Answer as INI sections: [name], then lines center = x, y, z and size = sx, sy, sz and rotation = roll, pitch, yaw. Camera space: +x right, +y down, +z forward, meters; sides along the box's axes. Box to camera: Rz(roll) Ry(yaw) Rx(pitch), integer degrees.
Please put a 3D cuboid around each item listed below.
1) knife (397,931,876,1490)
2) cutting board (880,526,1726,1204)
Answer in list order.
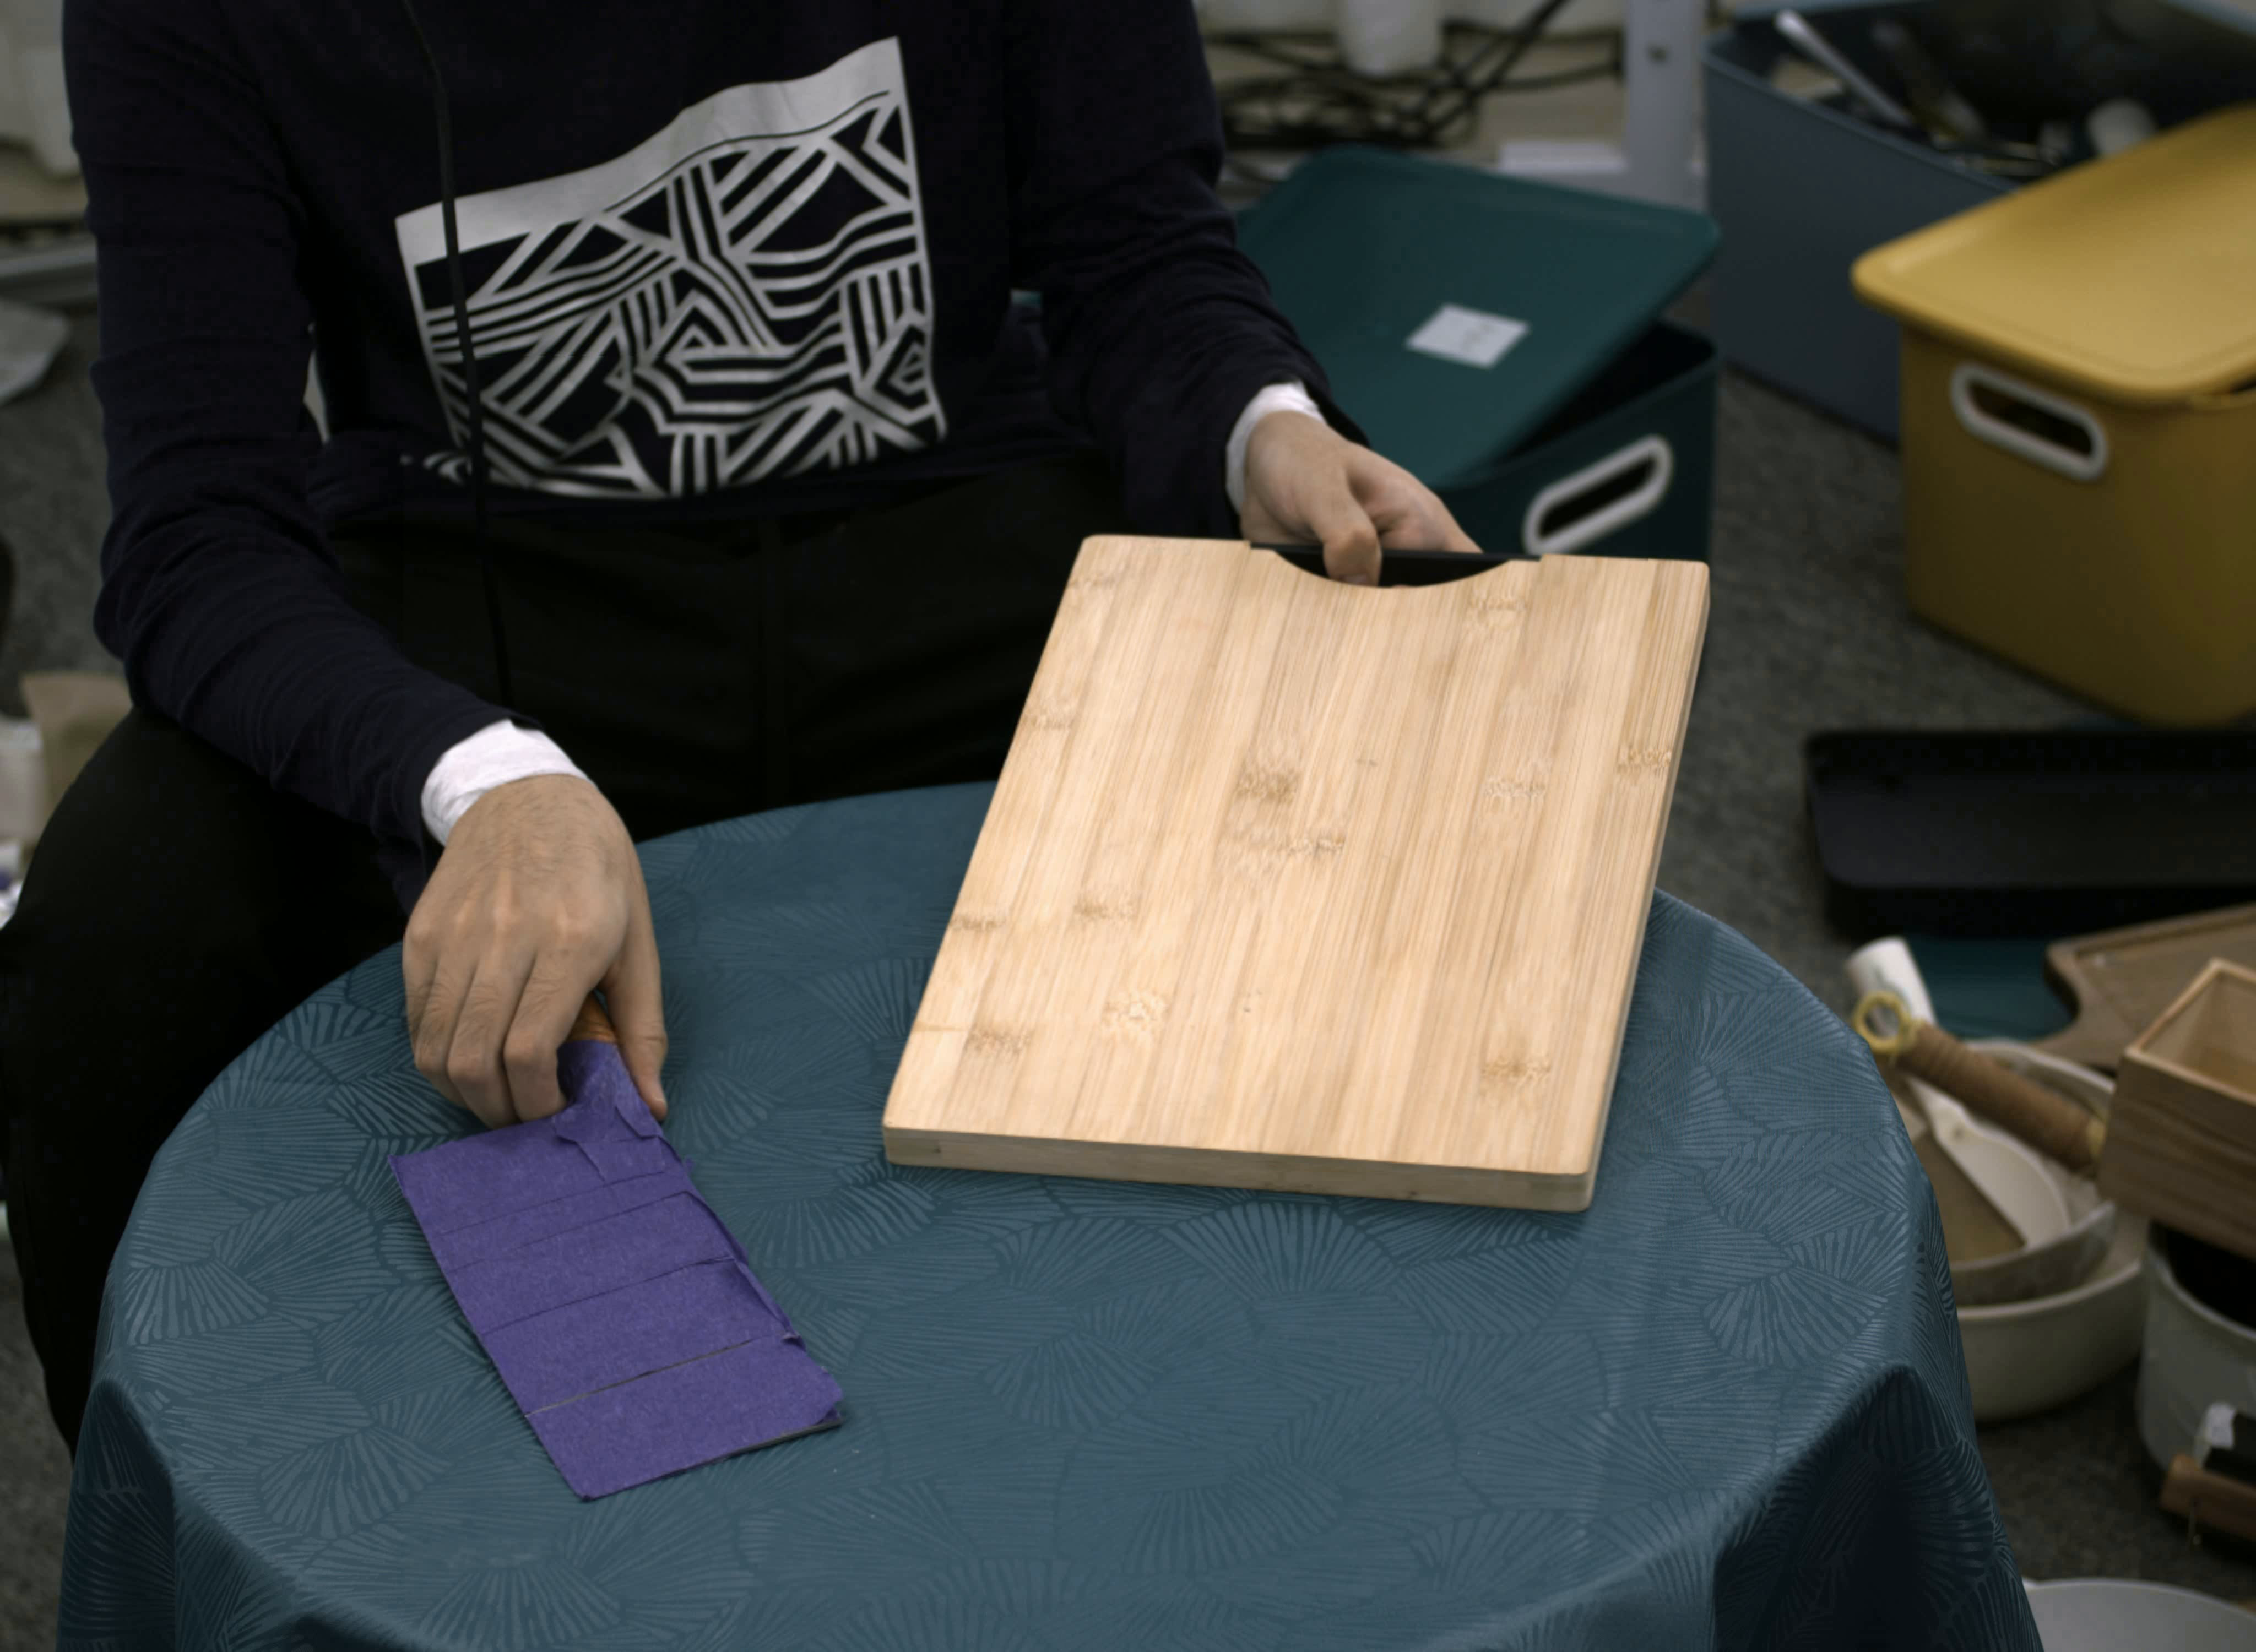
[knife]
center = -0.186, 0.122, 1.849
size = 0.104, 0.032, 0.317
rotation = -14, 30, -19
[cutting board]
center = 0.069, 0.006, 1.992
size = 0.249, 0.023, 0.356
rotation = 3, 38, 11
